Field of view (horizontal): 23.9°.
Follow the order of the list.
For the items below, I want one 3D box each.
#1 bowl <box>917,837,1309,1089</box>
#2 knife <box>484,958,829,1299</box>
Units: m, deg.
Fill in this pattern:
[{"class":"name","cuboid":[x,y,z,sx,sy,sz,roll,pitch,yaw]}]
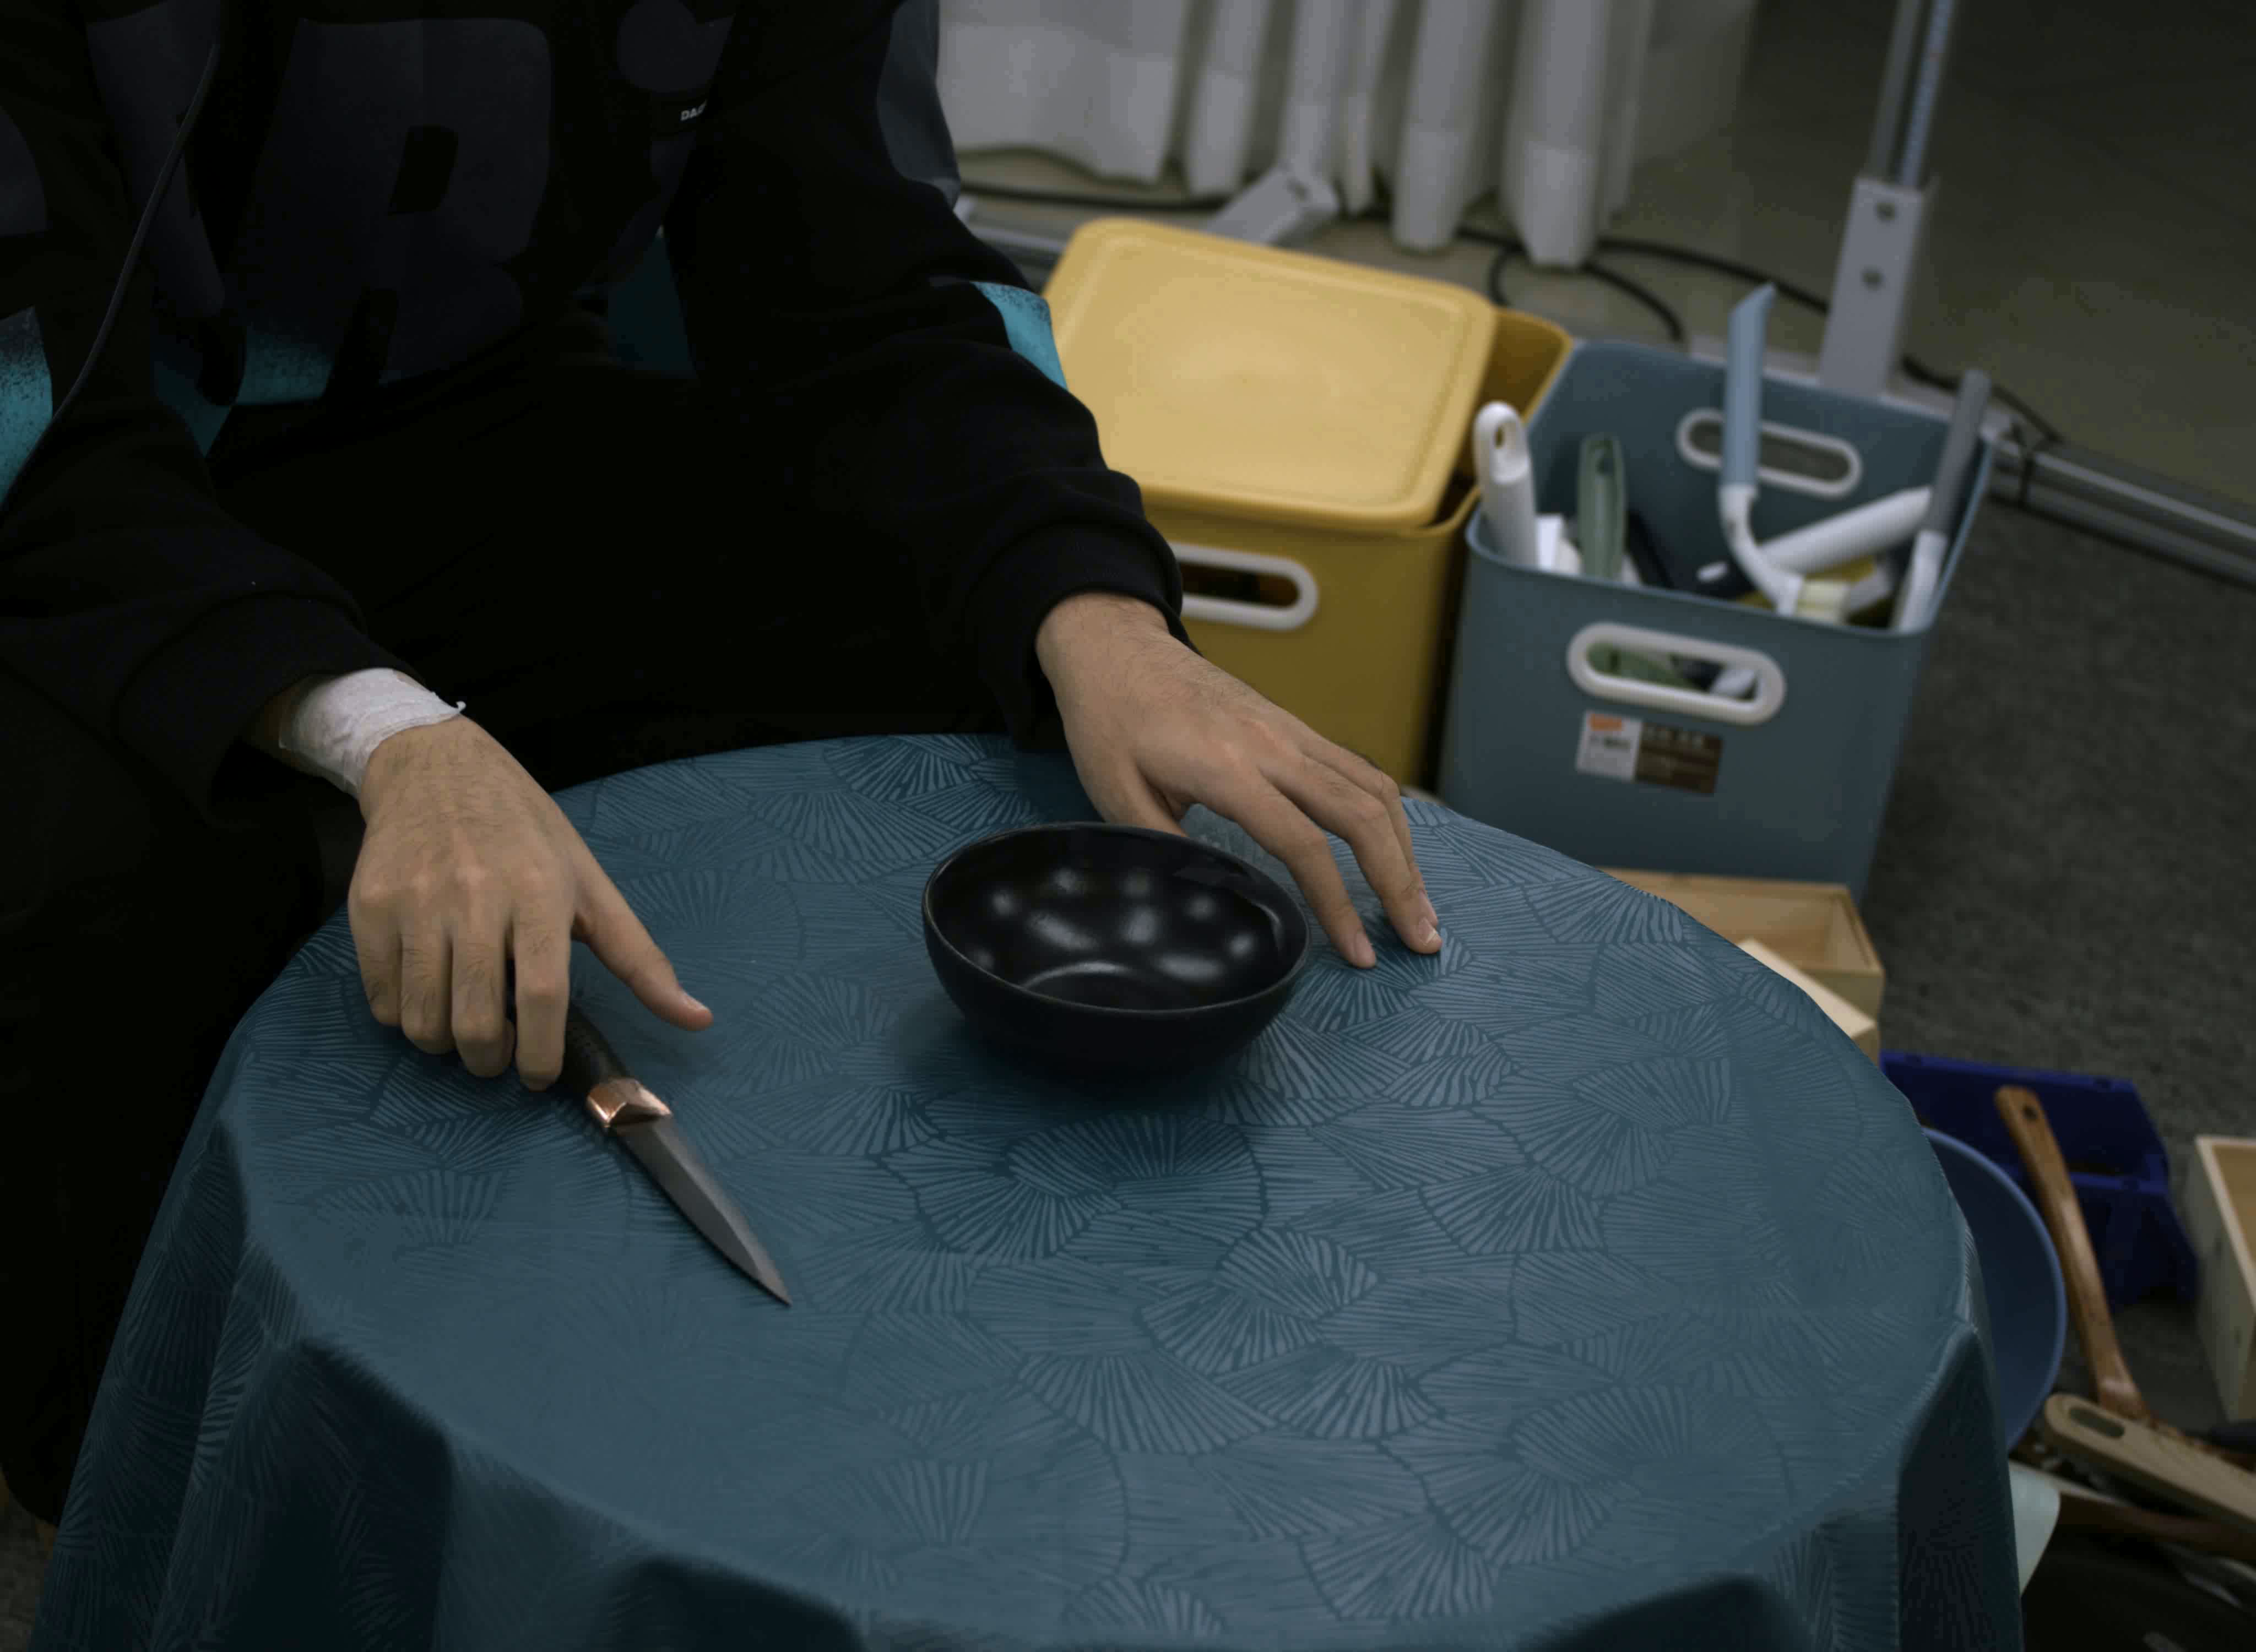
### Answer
[{"class":"bowl","cuboid":[-0.006,0.055,1.887,0.139,0.049,0.141,2,25,-1]},{"class":"knife","cuboid":[-0.162,0.102,1.797,0.026,0.017,0.227,-8,31,-32]}]
